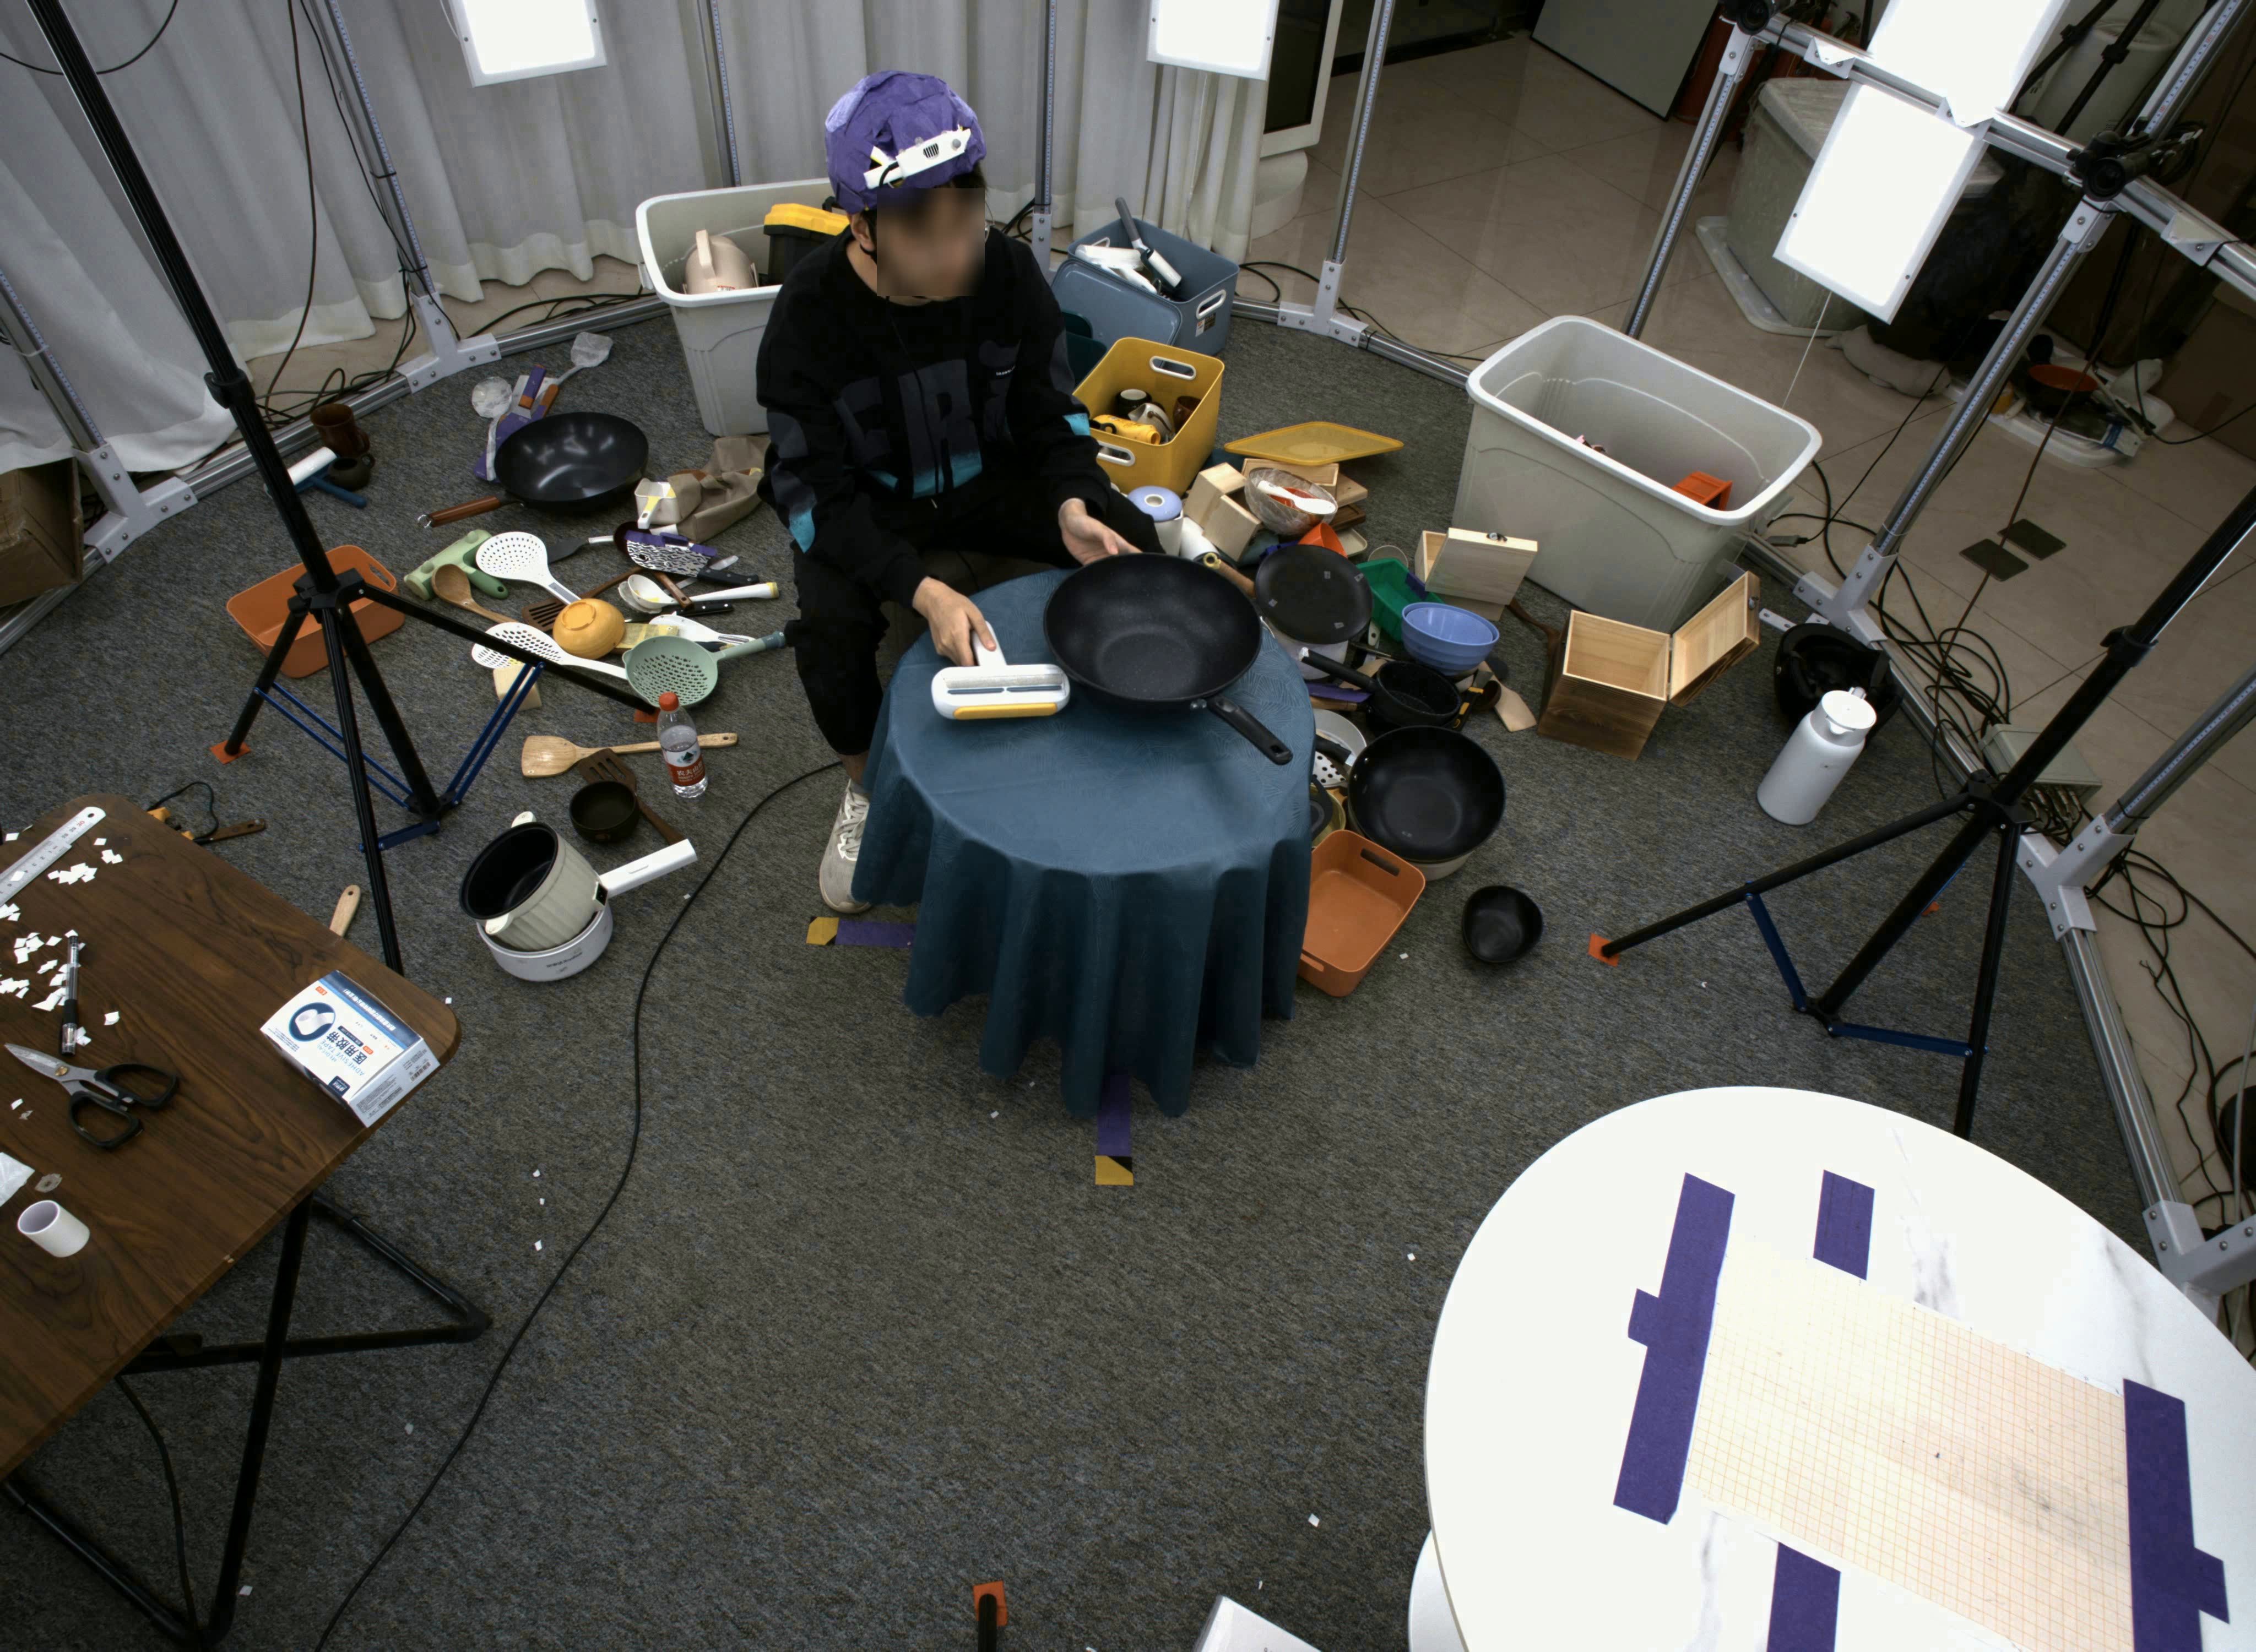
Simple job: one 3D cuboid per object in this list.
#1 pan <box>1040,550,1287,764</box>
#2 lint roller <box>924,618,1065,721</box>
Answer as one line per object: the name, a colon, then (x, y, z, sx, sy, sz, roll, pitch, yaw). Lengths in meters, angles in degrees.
pan: (0.072, -0.214, 1.790, 0.311, 0.109, 0.487, -24, 54, -20)
lint roller: (-0.193, -0.229, 1.800, 0.192, 0.072, 0.197, -4, 56, -13)
